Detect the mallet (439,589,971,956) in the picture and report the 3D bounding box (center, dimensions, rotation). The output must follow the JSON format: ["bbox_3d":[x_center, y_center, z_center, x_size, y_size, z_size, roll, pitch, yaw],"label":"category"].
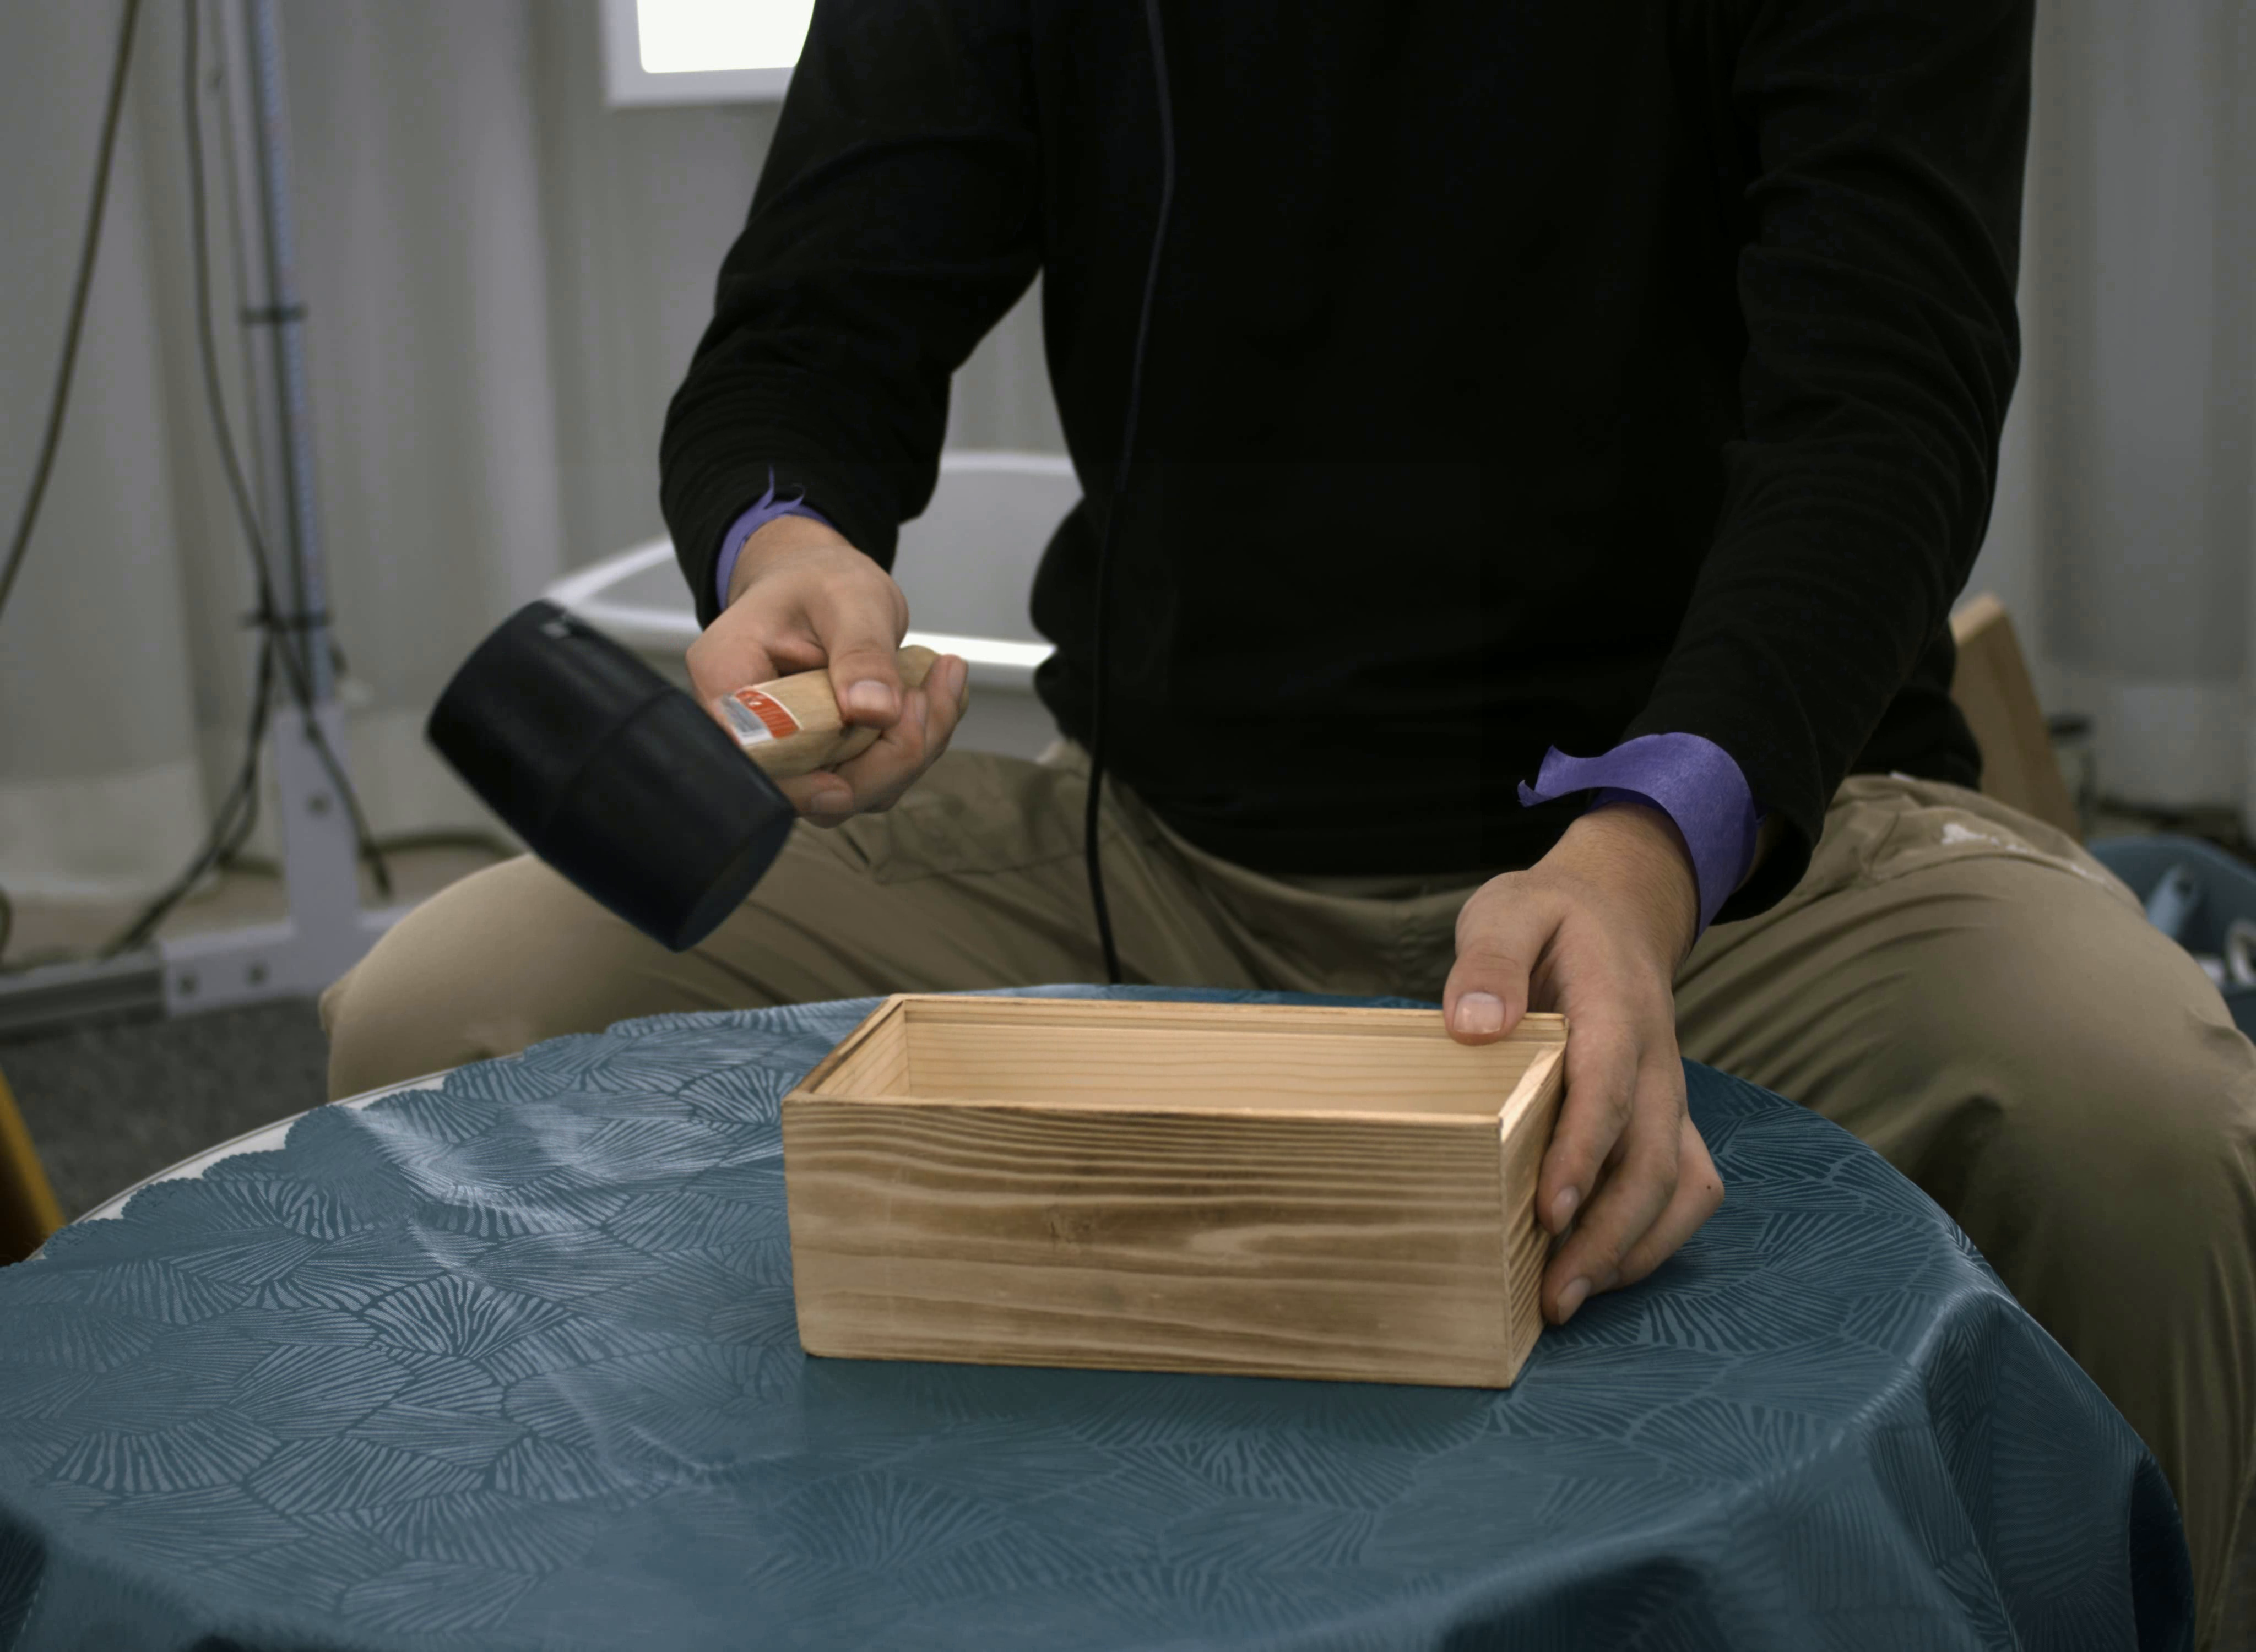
[{"bbox_3d":[-0.107,-0.033,1.707,0.064,0.102,0.339,-45,-7,17],"label":"mallet"}]

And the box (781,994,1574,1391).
[{"bbox_3d":[0.016,0.105,1.595,0.211,0.080,0.108,1,14,15],"label":"box"}]
